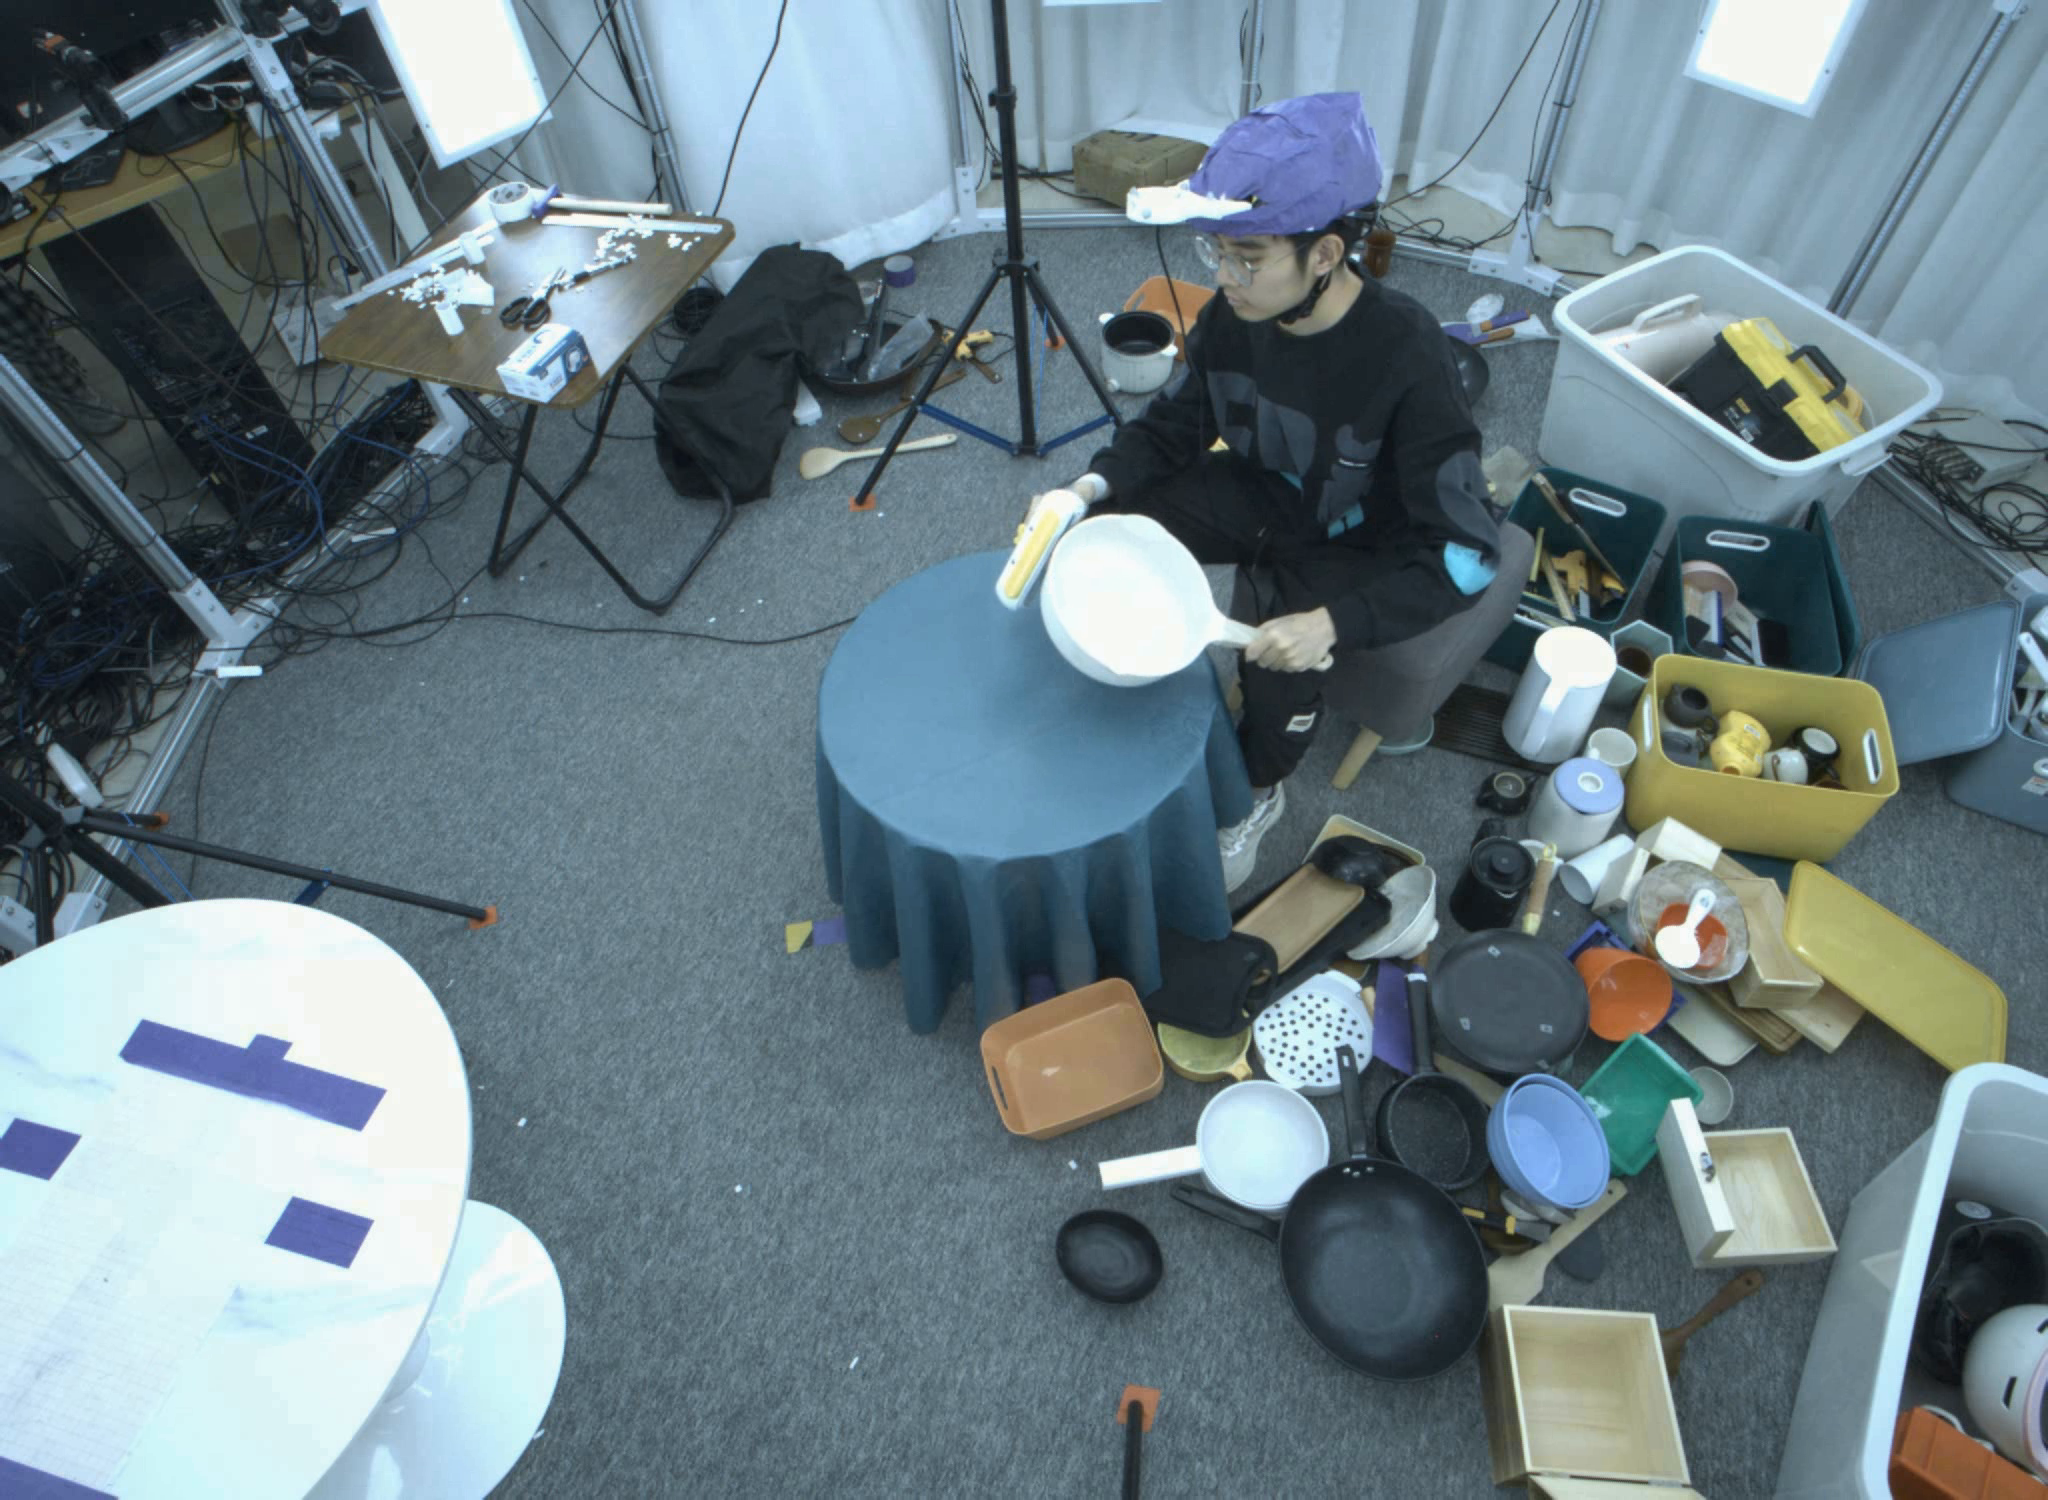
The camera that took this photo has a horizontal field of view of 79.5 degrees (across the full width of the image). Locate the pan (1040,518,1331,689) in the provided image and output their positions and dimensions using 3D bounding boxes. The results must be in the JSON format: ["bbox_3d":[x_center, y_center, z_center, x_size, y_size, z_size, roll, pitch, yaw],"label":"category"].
[{"bbox_3d":[0.225,-0.174,1.759,0.440,0.101,0.262,19,62,-15],"label":"pan"}]

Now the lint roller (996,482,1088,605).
[{"bbox_3d":[0.037,-0.313,1.793,0.074,0.193,0.193,30,25,8],"label":"lint roller"}]
